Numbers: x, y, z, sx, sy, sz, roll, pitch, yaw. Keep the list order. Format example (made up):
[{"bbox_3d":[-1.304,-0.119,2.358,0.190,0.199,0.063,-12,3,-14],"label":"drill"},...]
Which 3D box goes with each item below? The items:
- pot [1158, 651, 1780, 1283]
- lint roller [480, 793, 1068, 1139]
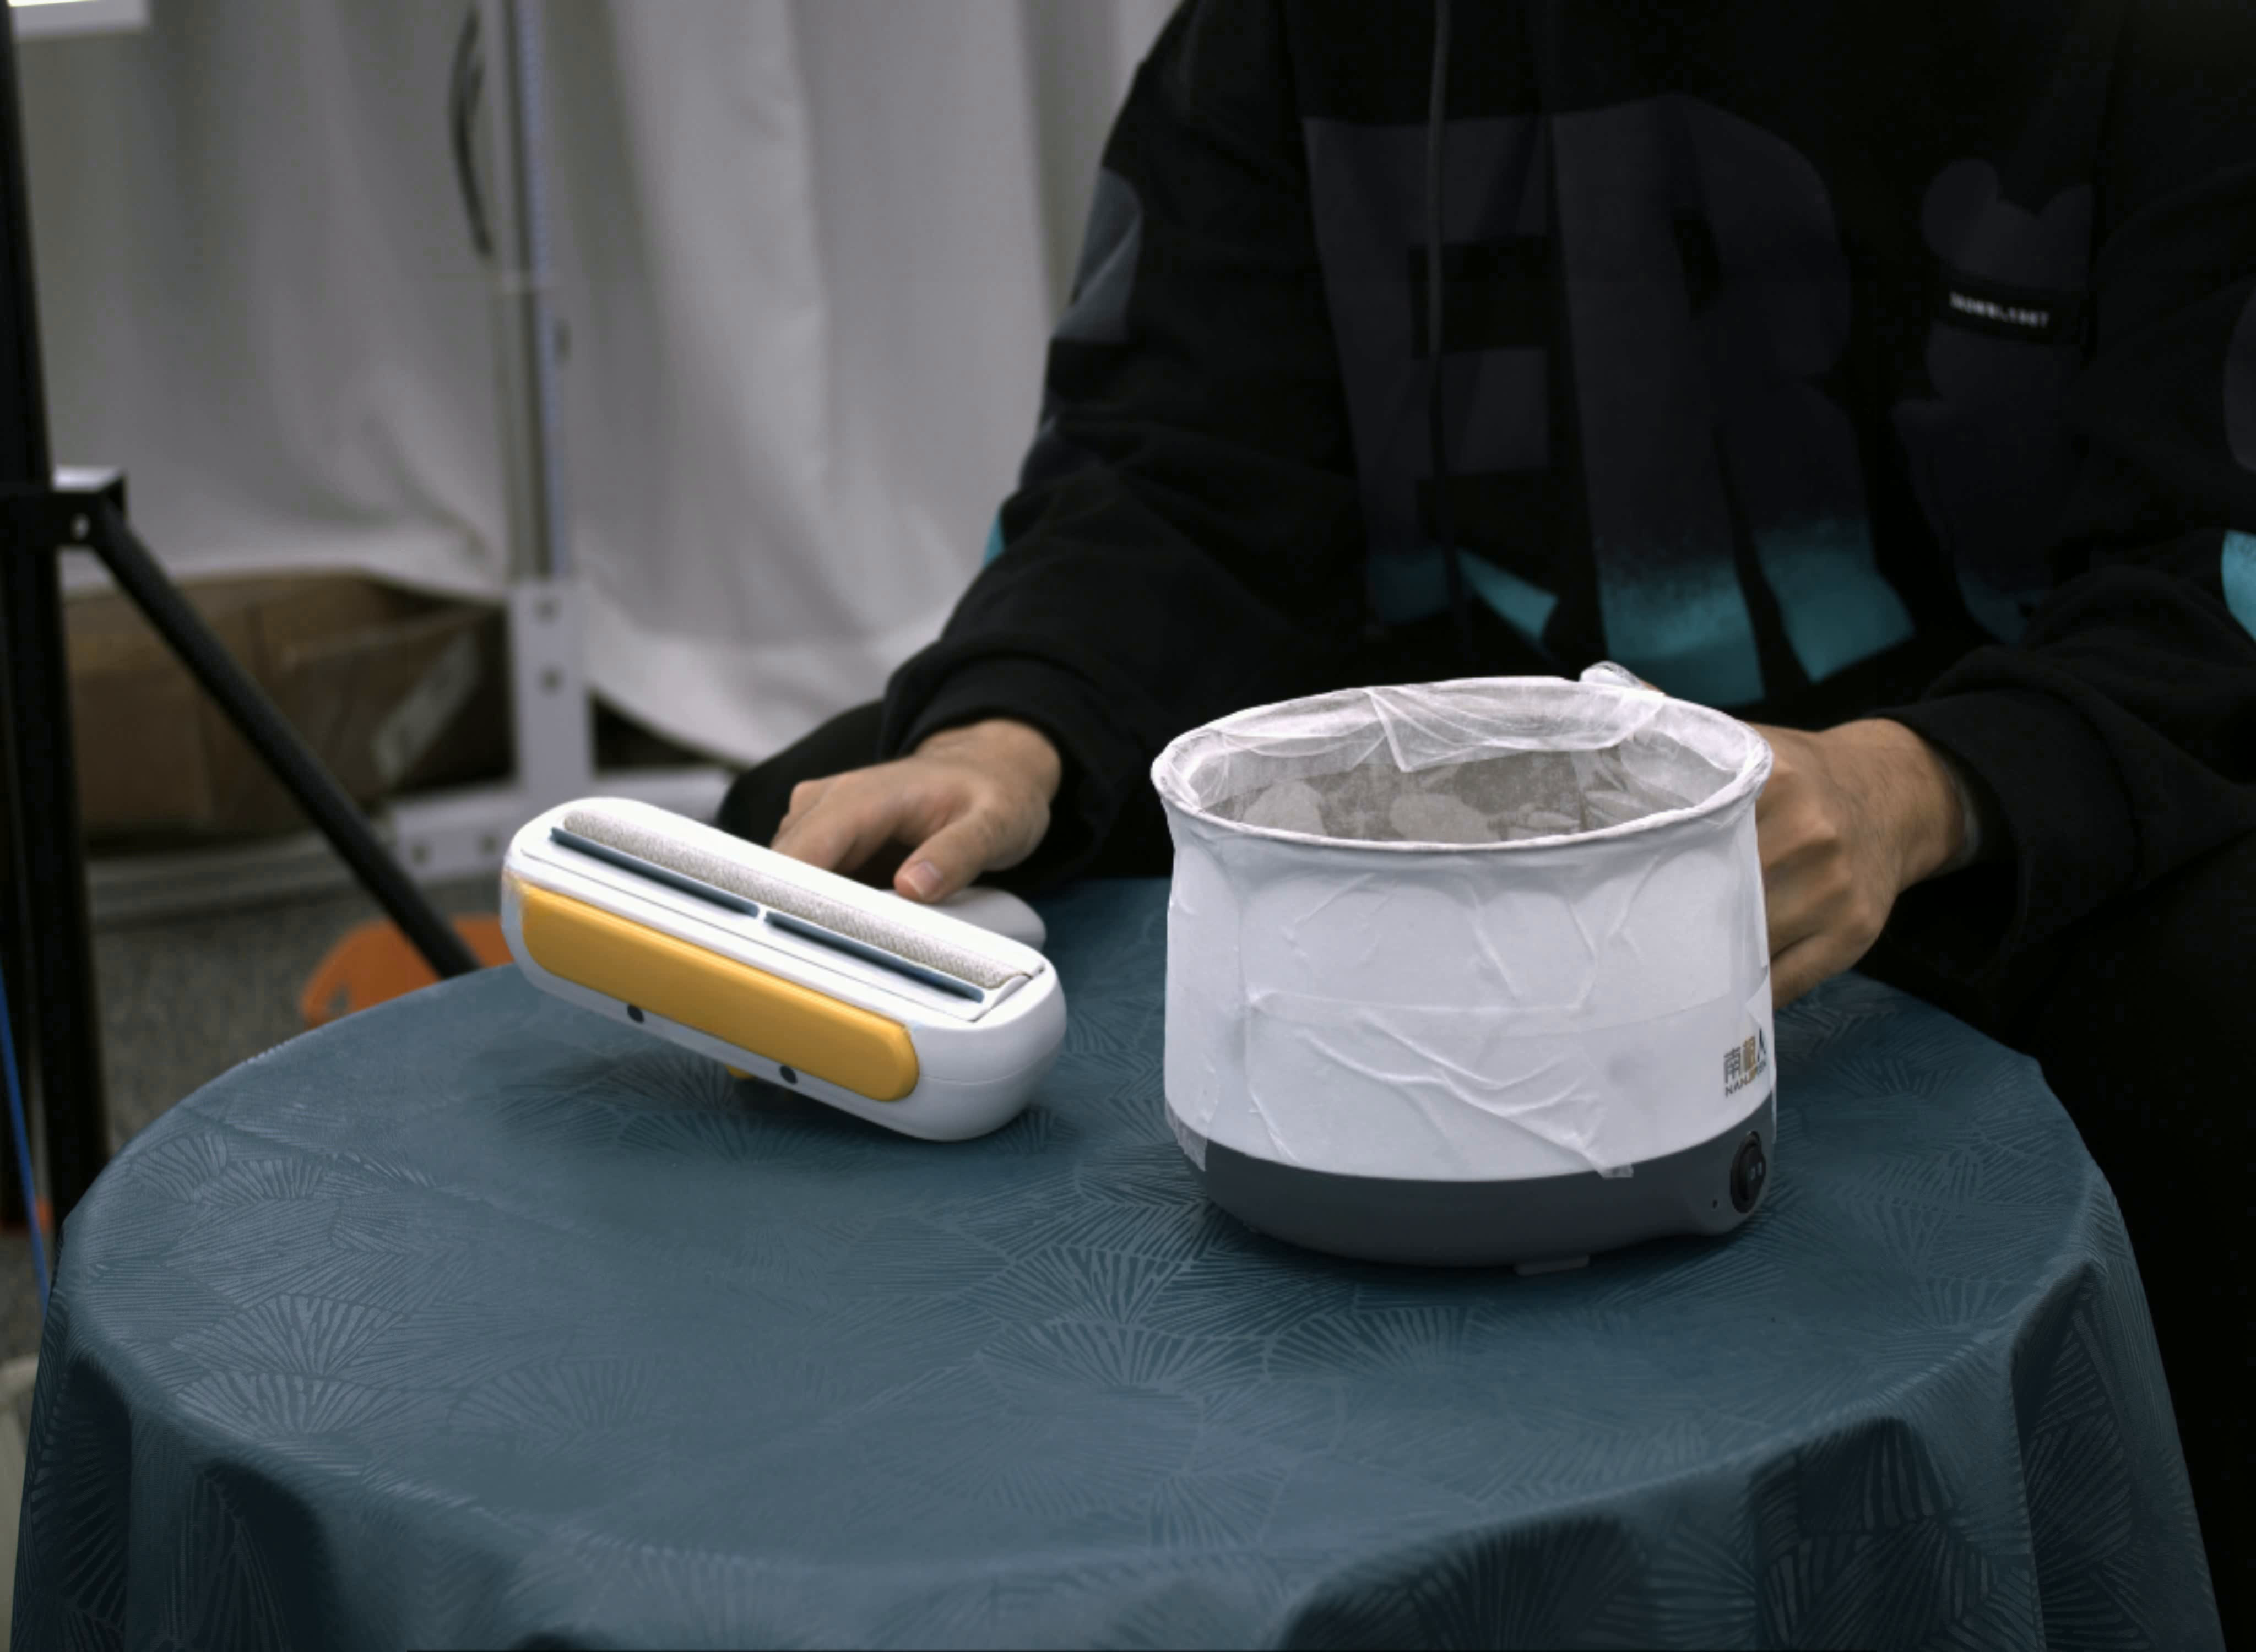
[{"bbox_3d":[0.111,0.034,1.543,0.182,0.136,0.230,8,20,28],"label":"pot"},{"bbox_3d":[-0.084,0.036,1.703,0.196,0.074,0.188,16,22,32],"label":"lint roller"}]
